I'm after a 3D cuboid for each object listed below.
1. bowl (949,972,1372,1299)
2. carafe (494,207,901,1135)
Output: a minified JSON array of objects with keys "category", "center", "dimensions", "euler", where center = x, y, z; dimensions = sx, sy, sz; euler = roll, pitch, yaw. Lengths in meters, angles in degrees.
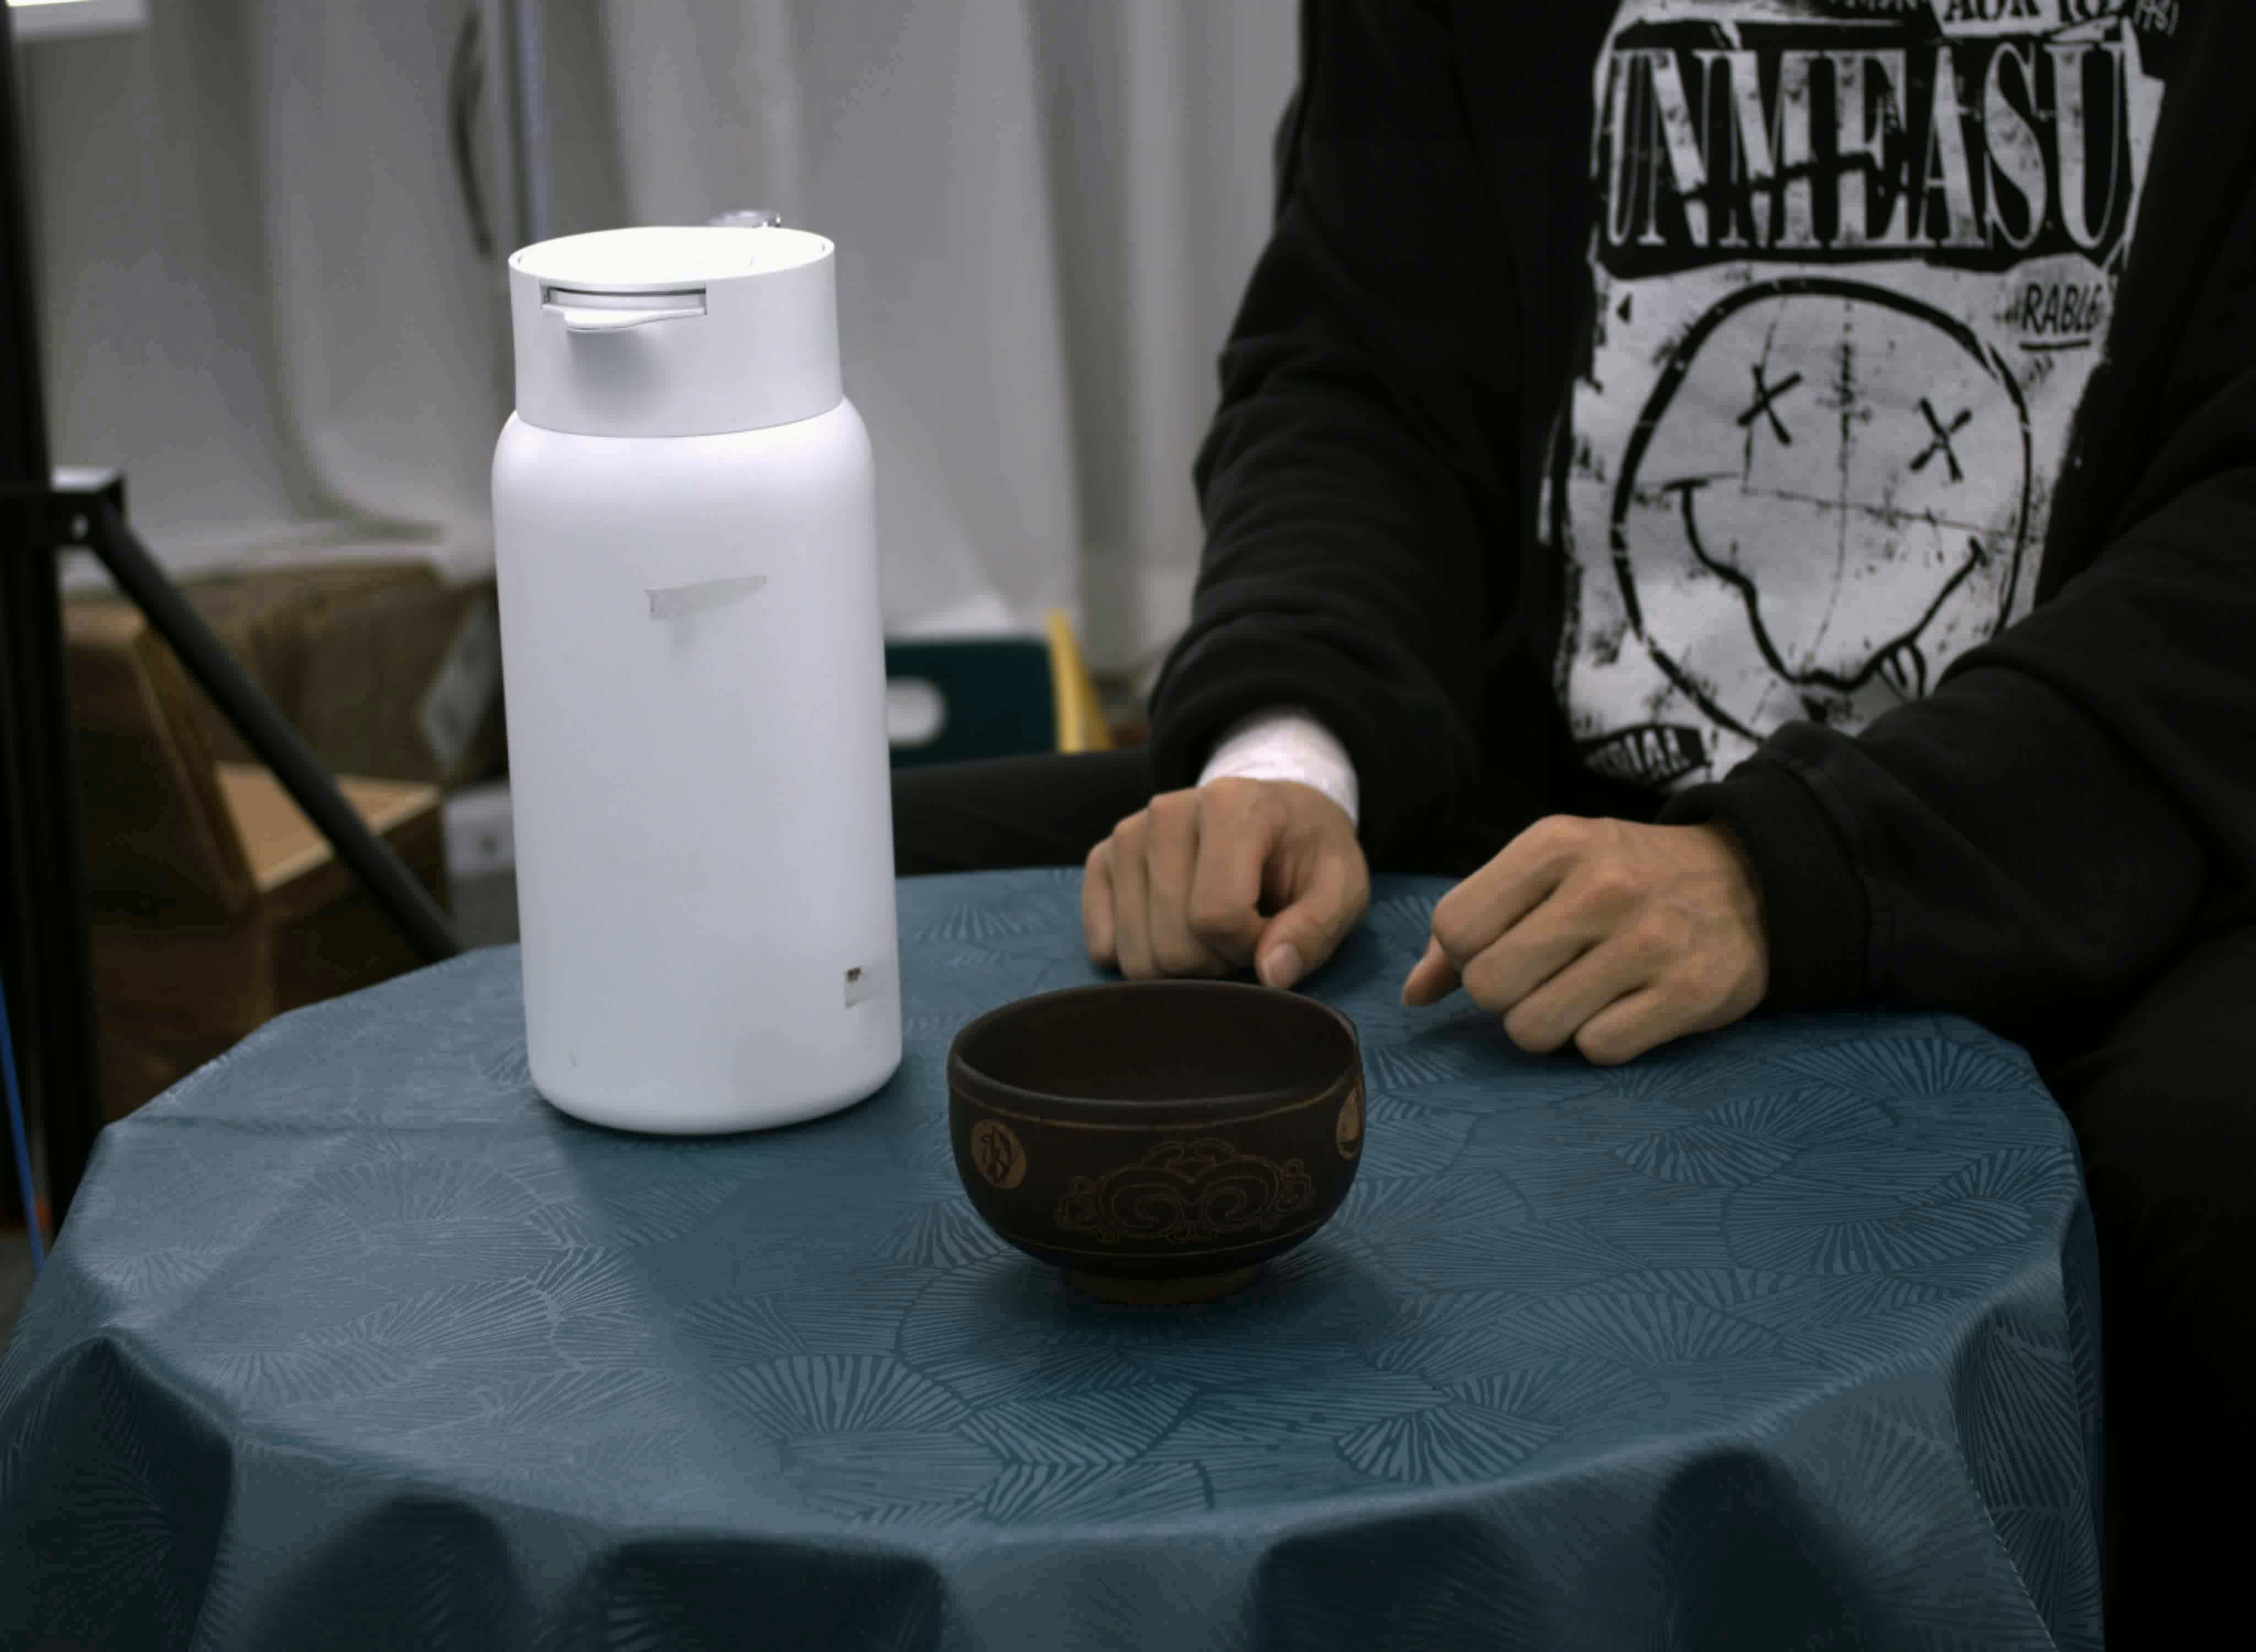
[{"category":"bowl","center":[0.010,0.090,1.481],"dimensions":[0.117,0.070,0.118],"euler":[-3,15,-1]},{"category":"carafe","center":[-0.129,-0.052,1.653],"dimensions":[0.125,0.269,0.171],"euler":[1,15,17]}]
